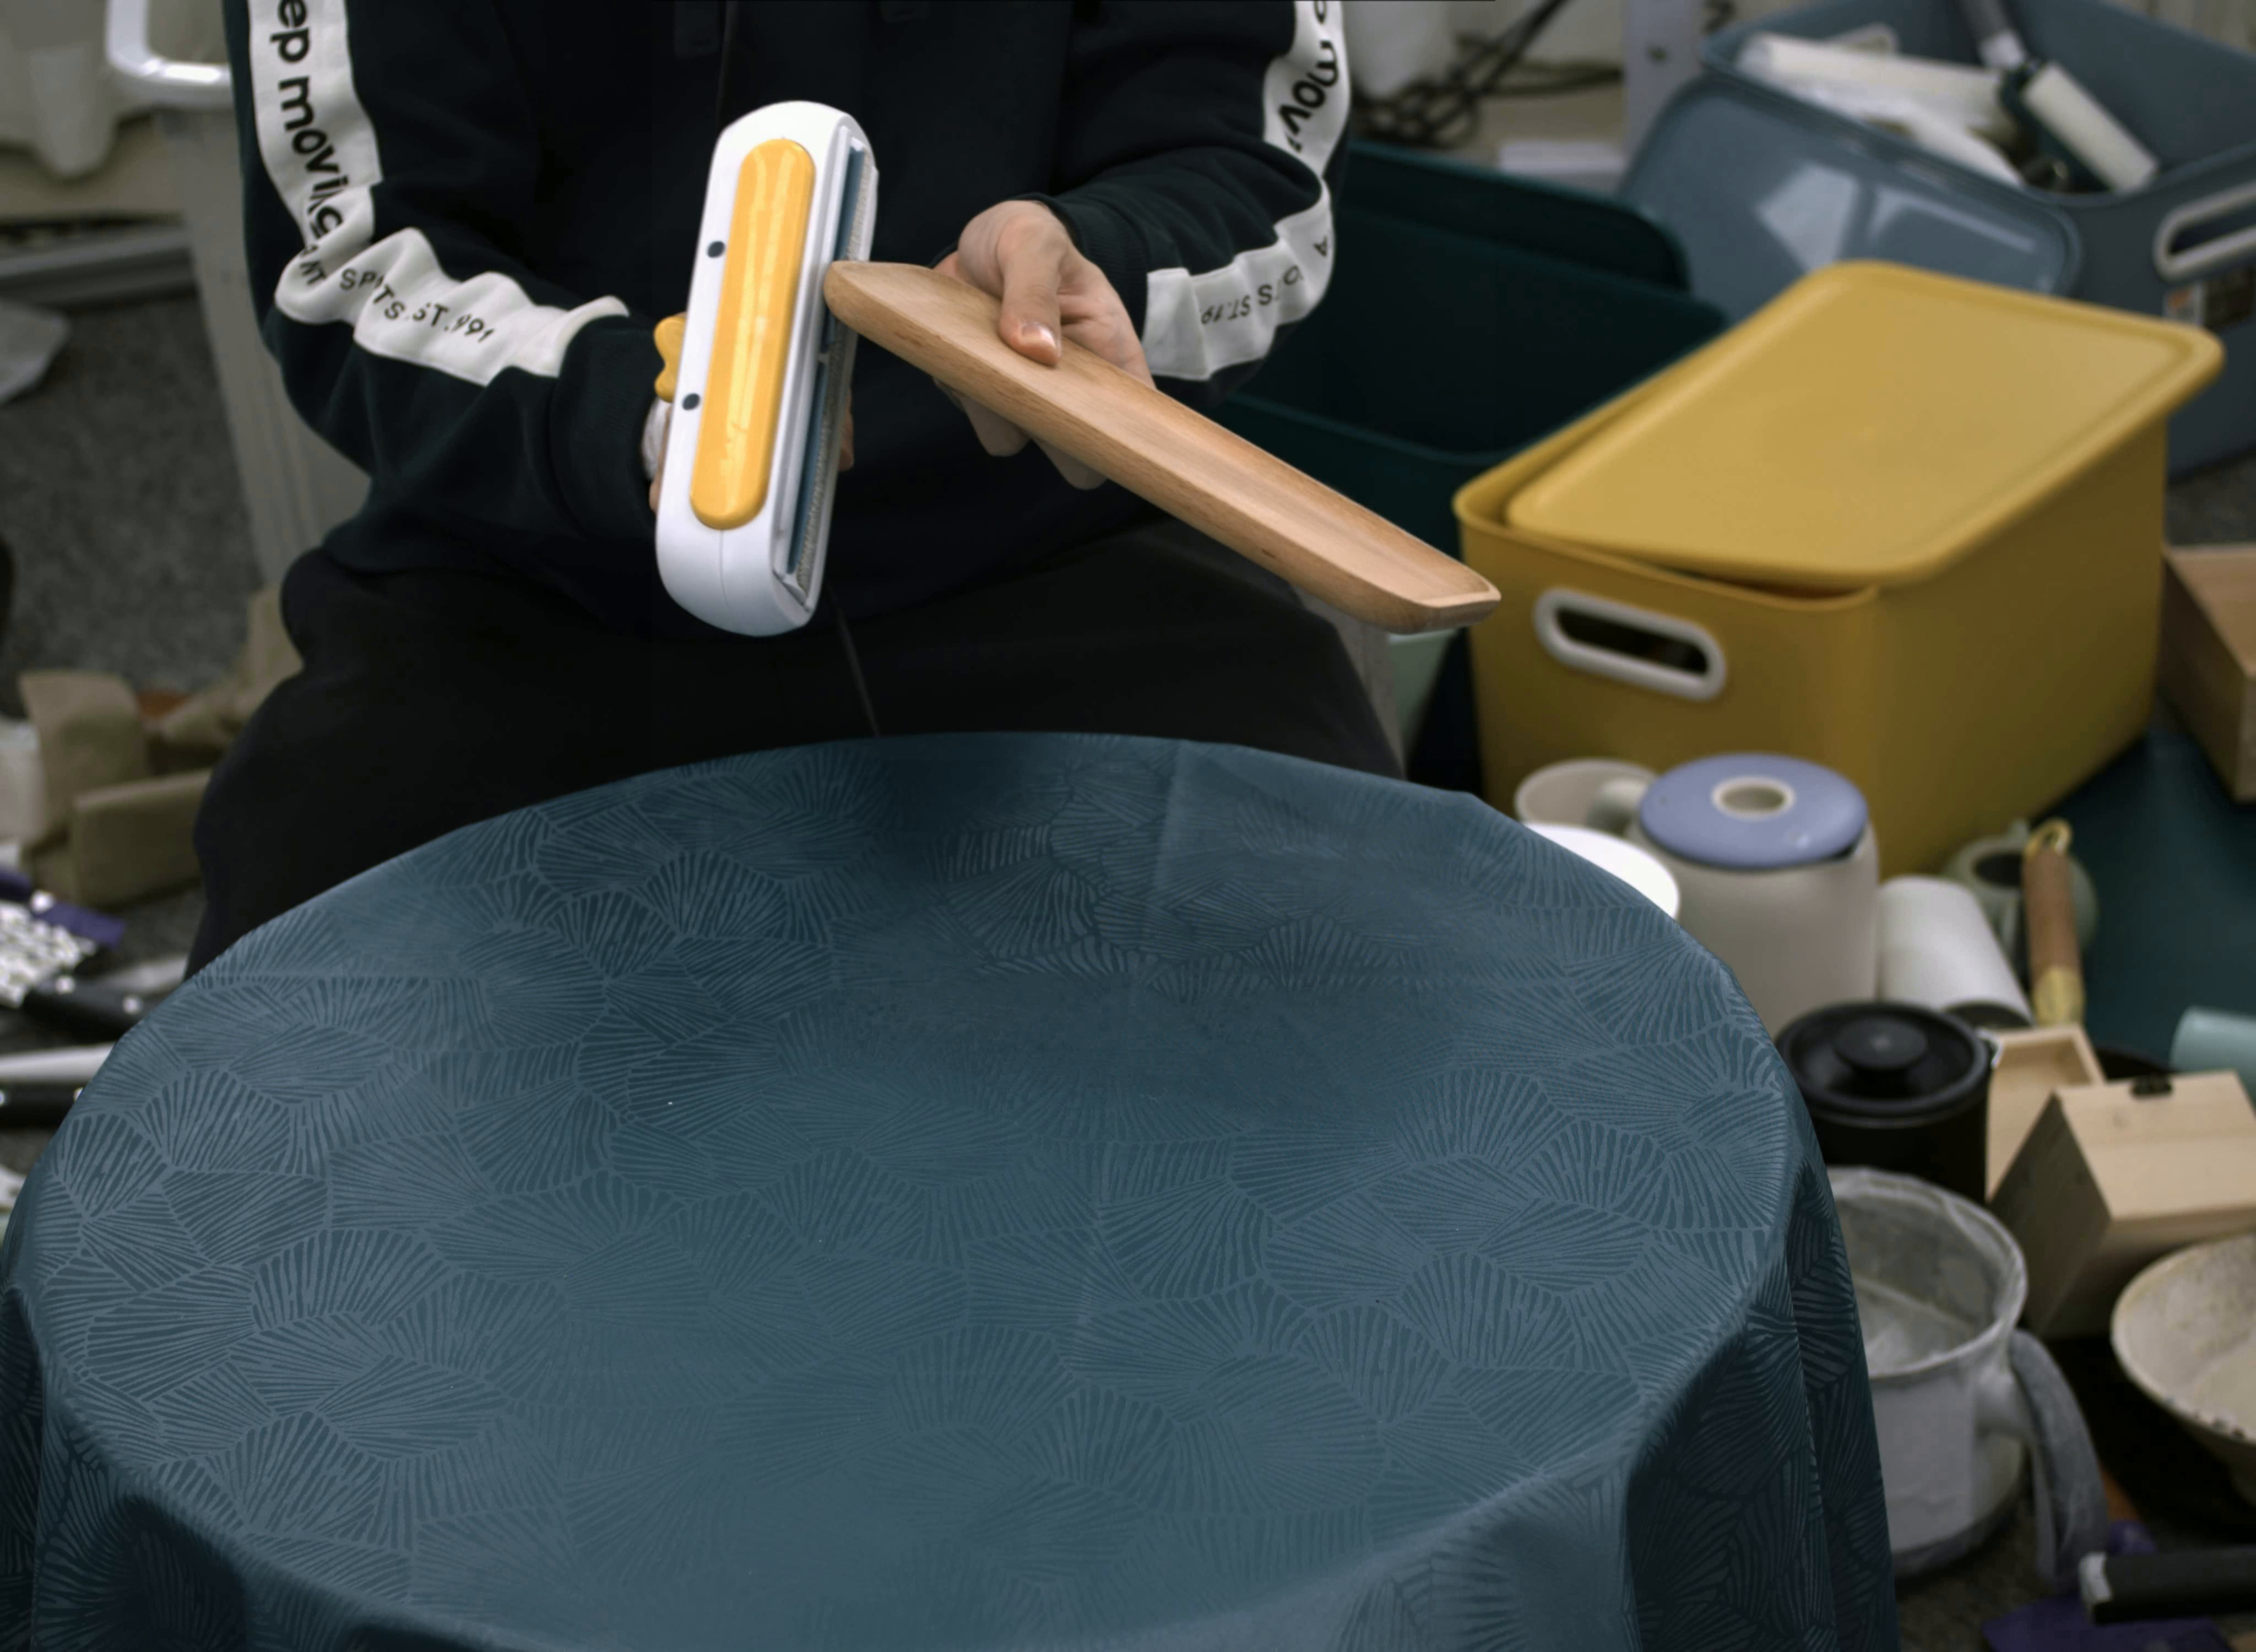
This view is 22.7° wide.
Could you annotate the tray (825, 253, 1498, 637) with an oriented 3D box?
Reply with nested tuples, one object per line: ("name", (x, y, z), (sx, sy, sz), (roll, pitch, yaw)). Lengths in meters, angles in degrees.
("tray", (0.011, -0.132, 1.963), (0.250, 0.023, 0.131), (31, 10, 16))

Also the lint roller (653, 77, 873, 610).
("lint roller", (-0.127, -0.148, 2.033), (0.074, 0.190, 0.196), (0, 67, 7))
